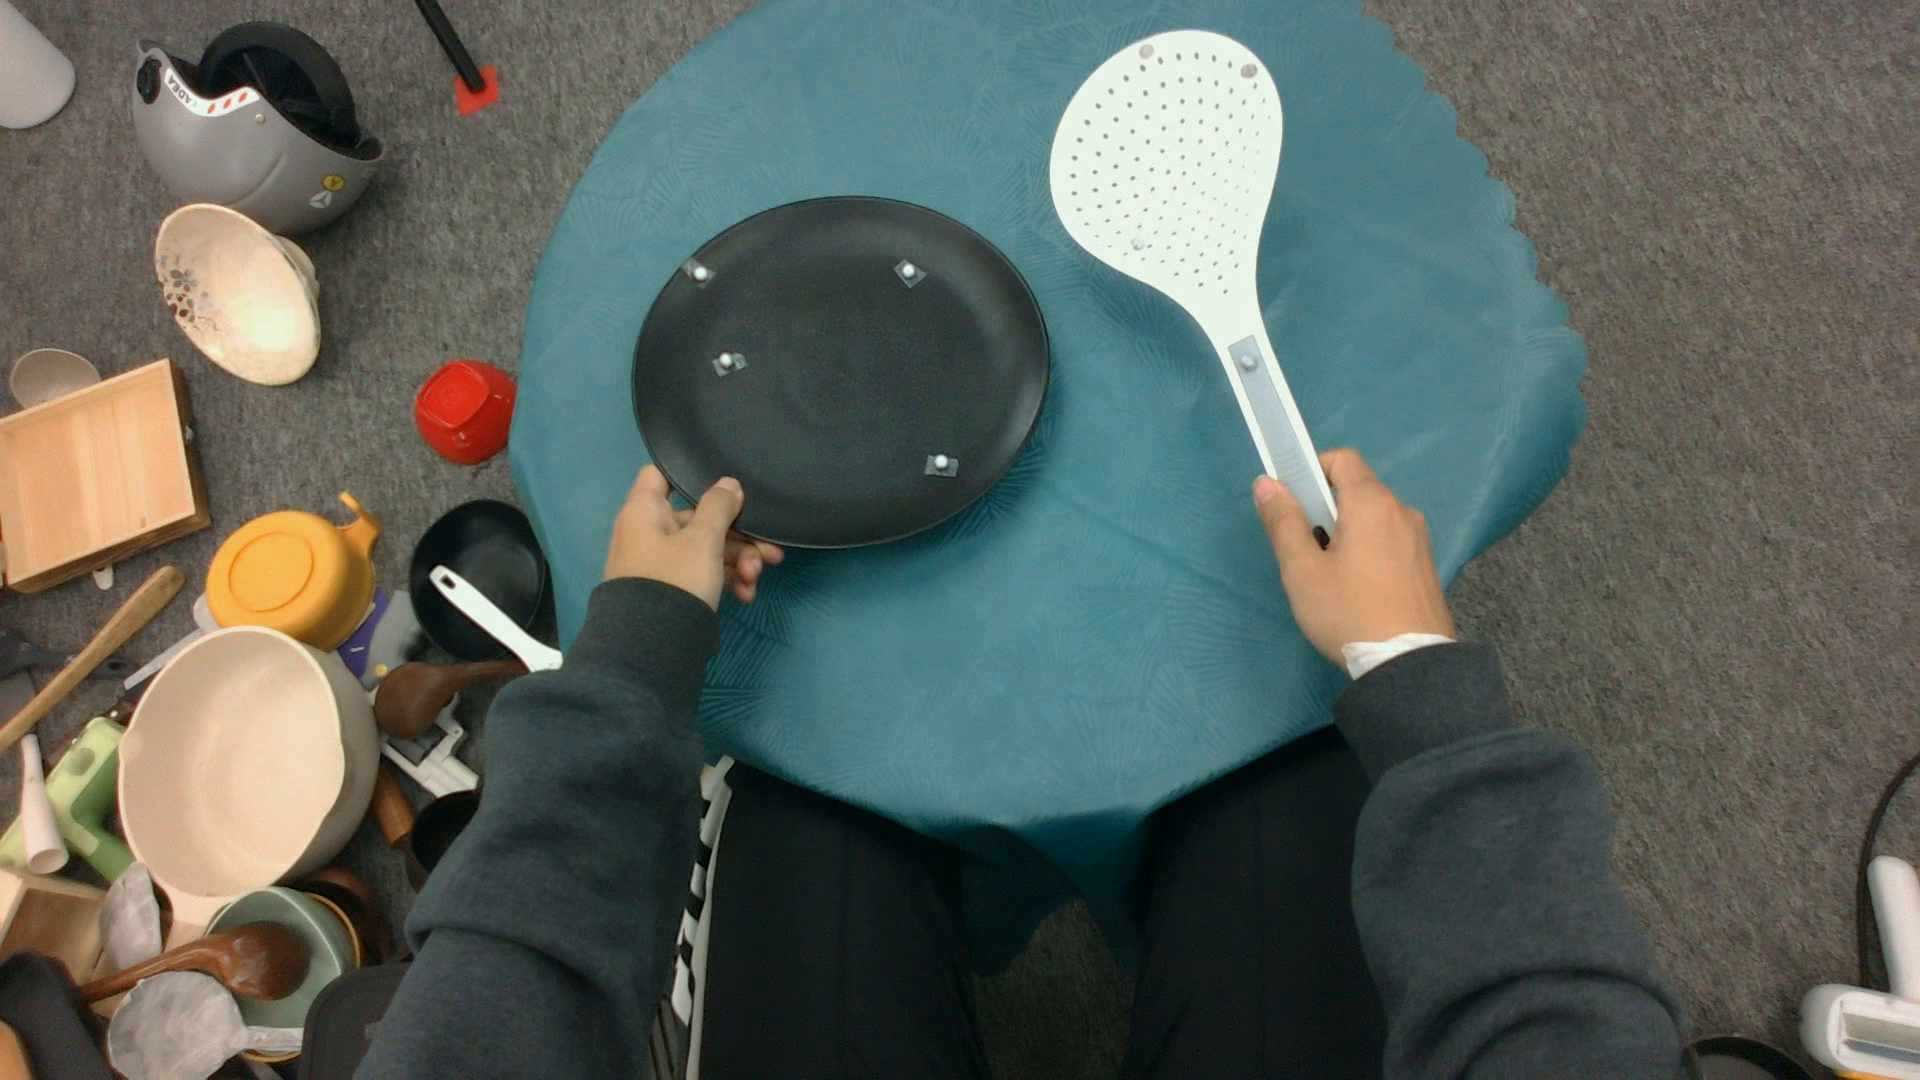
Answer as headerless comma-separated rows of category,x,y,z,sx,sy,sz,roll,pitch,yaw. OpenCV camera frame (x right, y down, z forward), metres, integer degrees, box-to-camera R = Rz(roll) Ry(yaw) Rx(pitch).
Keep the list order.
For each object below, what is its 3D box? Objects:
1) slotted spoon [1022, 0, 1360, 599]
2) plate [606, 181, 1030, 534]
slotted spoon,0.134,-0.133,0.740,0.135,0.046,0.350,-28,69,26
plate,-0.081,-0.109,0.801,0.244,0.023,0.245,0,63,-1
